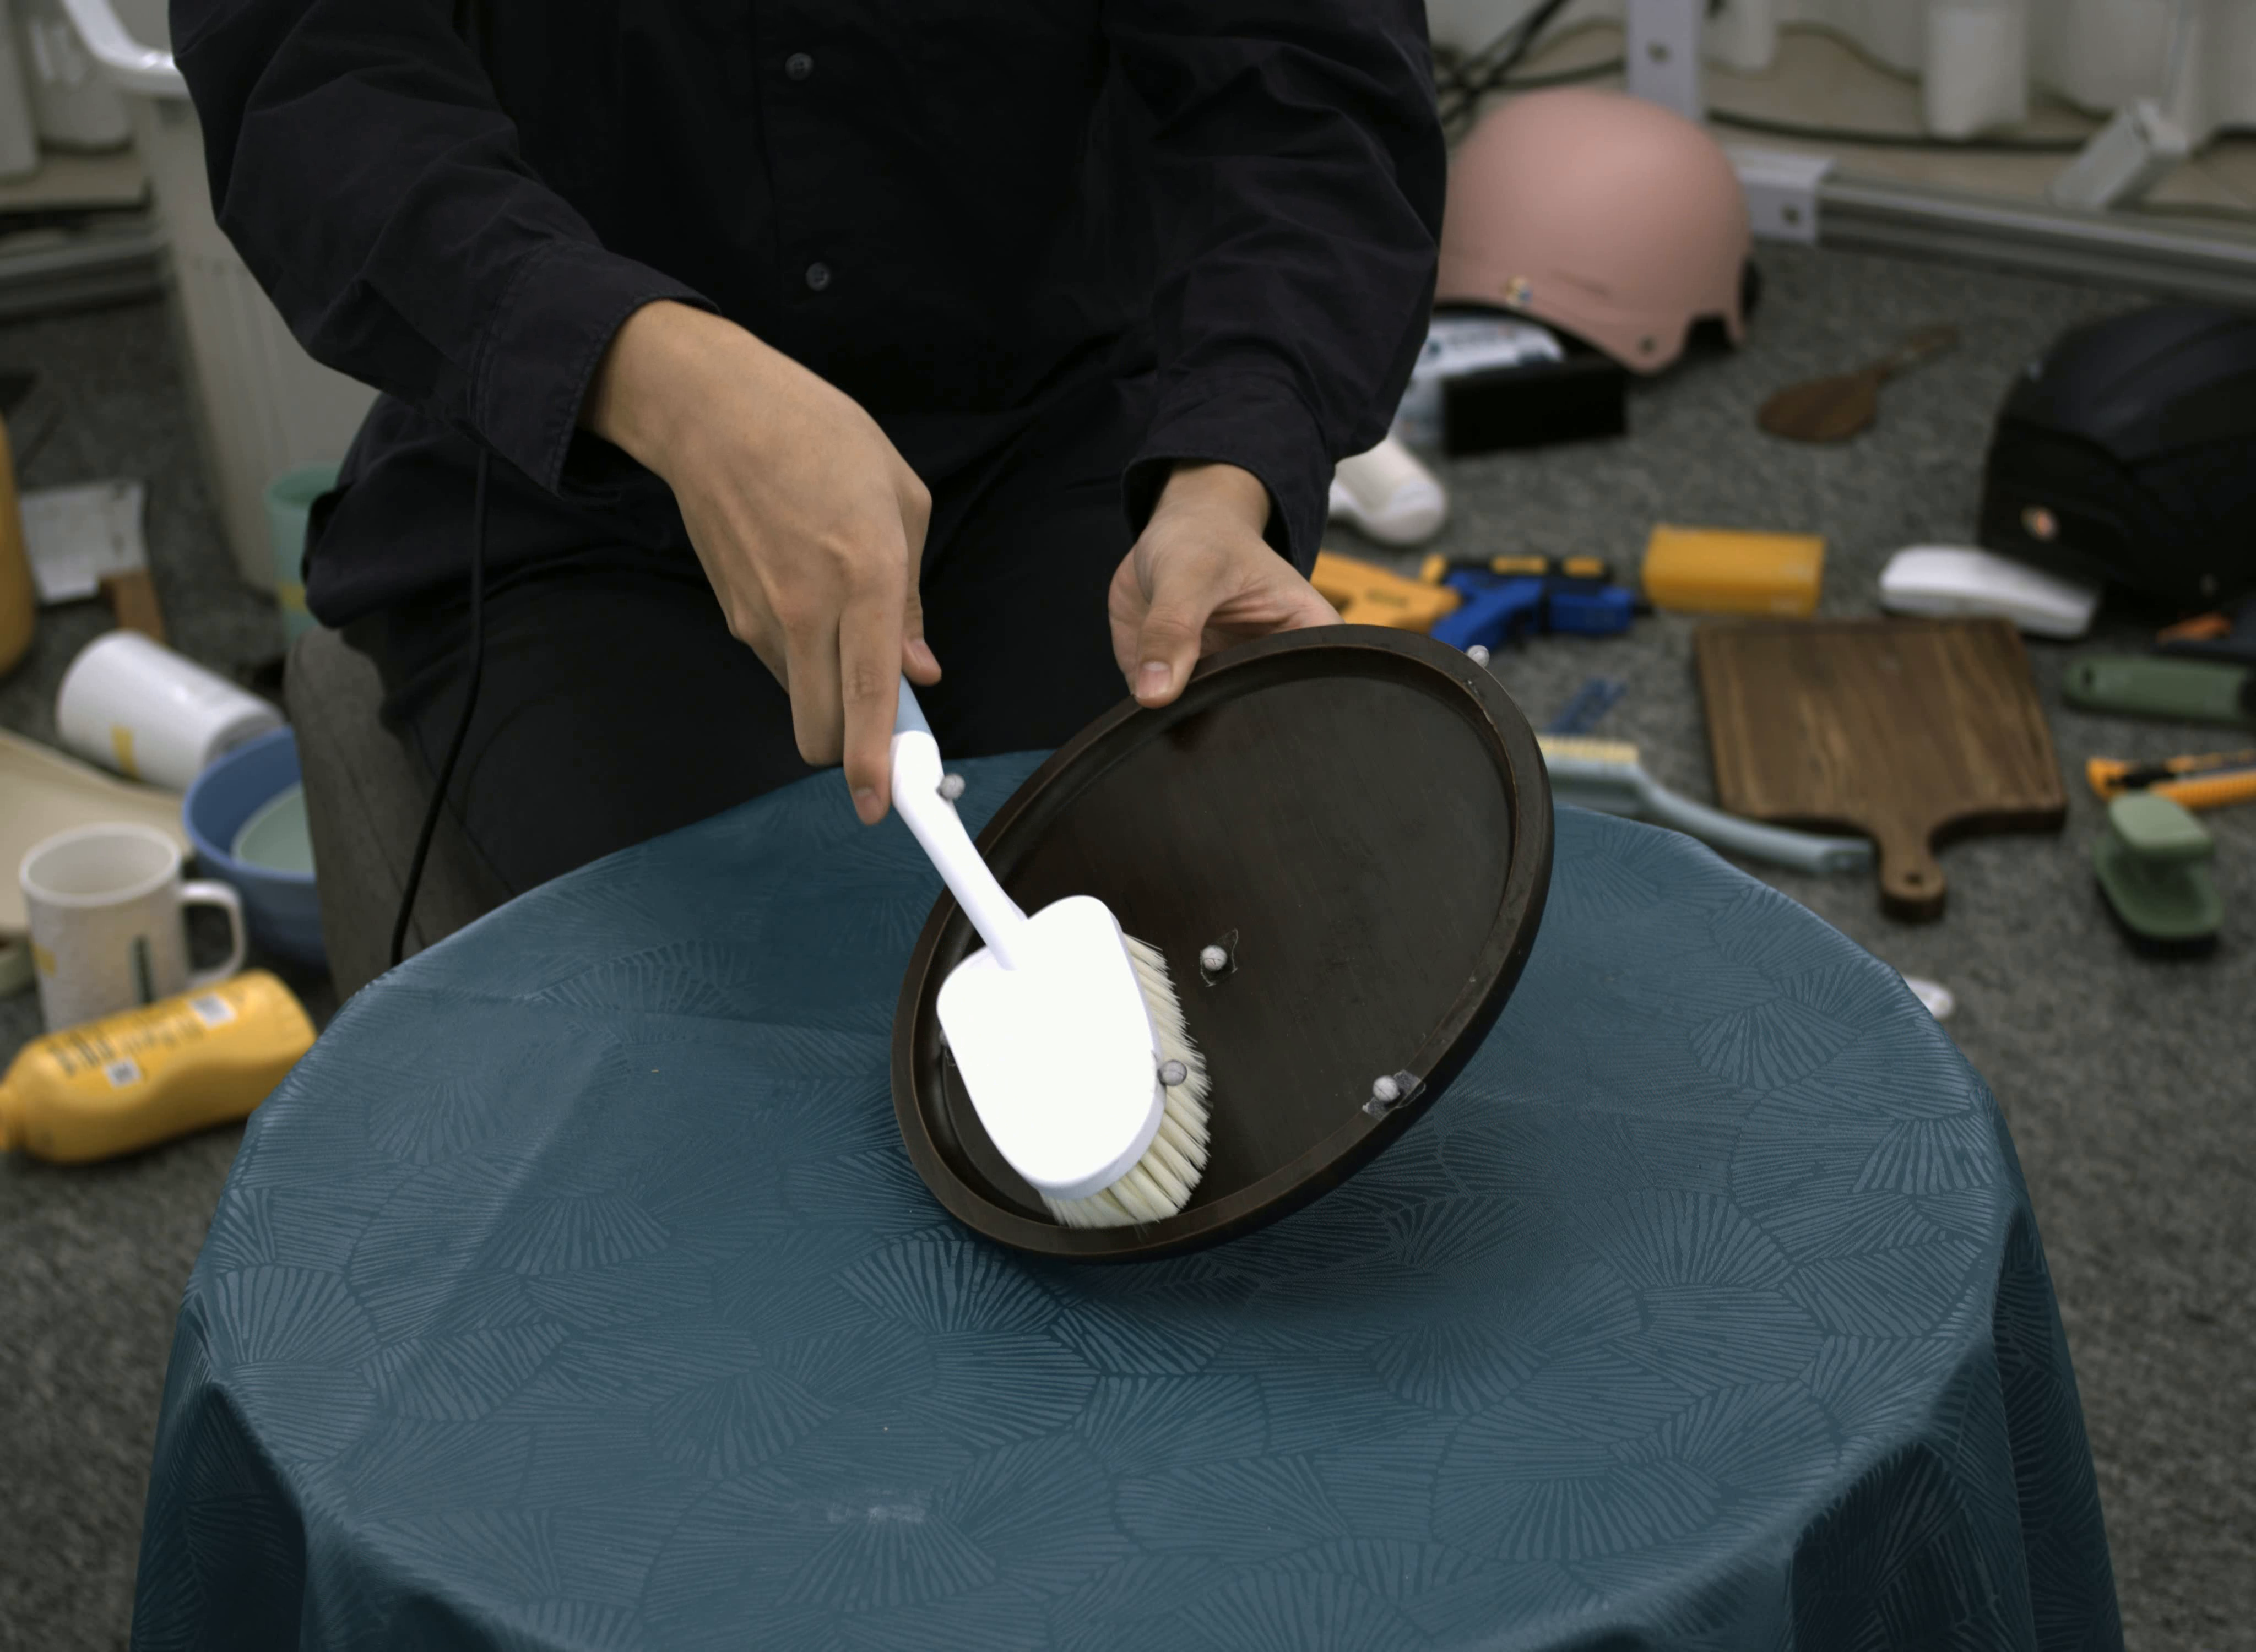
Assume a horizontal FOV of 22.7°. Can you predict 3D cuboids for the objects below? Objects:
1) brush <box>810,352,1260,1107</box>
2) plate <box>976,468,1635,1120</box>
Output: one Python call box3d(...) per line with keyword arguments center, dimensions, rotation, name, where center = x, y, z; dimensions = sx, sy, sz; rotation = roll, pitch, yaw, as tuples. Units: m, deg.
box3d(center=(-0.028, -0.033, 1.901), dimensions=(0.083, 0.083, 0.330), rotation=(-9, 50, -21), name="brush")
box3d(center=(0.059, -0.009, 1.876), dimensions=(0.251, 0.029, 0.260), rotation=(-24, 42, 24), name="plate")
